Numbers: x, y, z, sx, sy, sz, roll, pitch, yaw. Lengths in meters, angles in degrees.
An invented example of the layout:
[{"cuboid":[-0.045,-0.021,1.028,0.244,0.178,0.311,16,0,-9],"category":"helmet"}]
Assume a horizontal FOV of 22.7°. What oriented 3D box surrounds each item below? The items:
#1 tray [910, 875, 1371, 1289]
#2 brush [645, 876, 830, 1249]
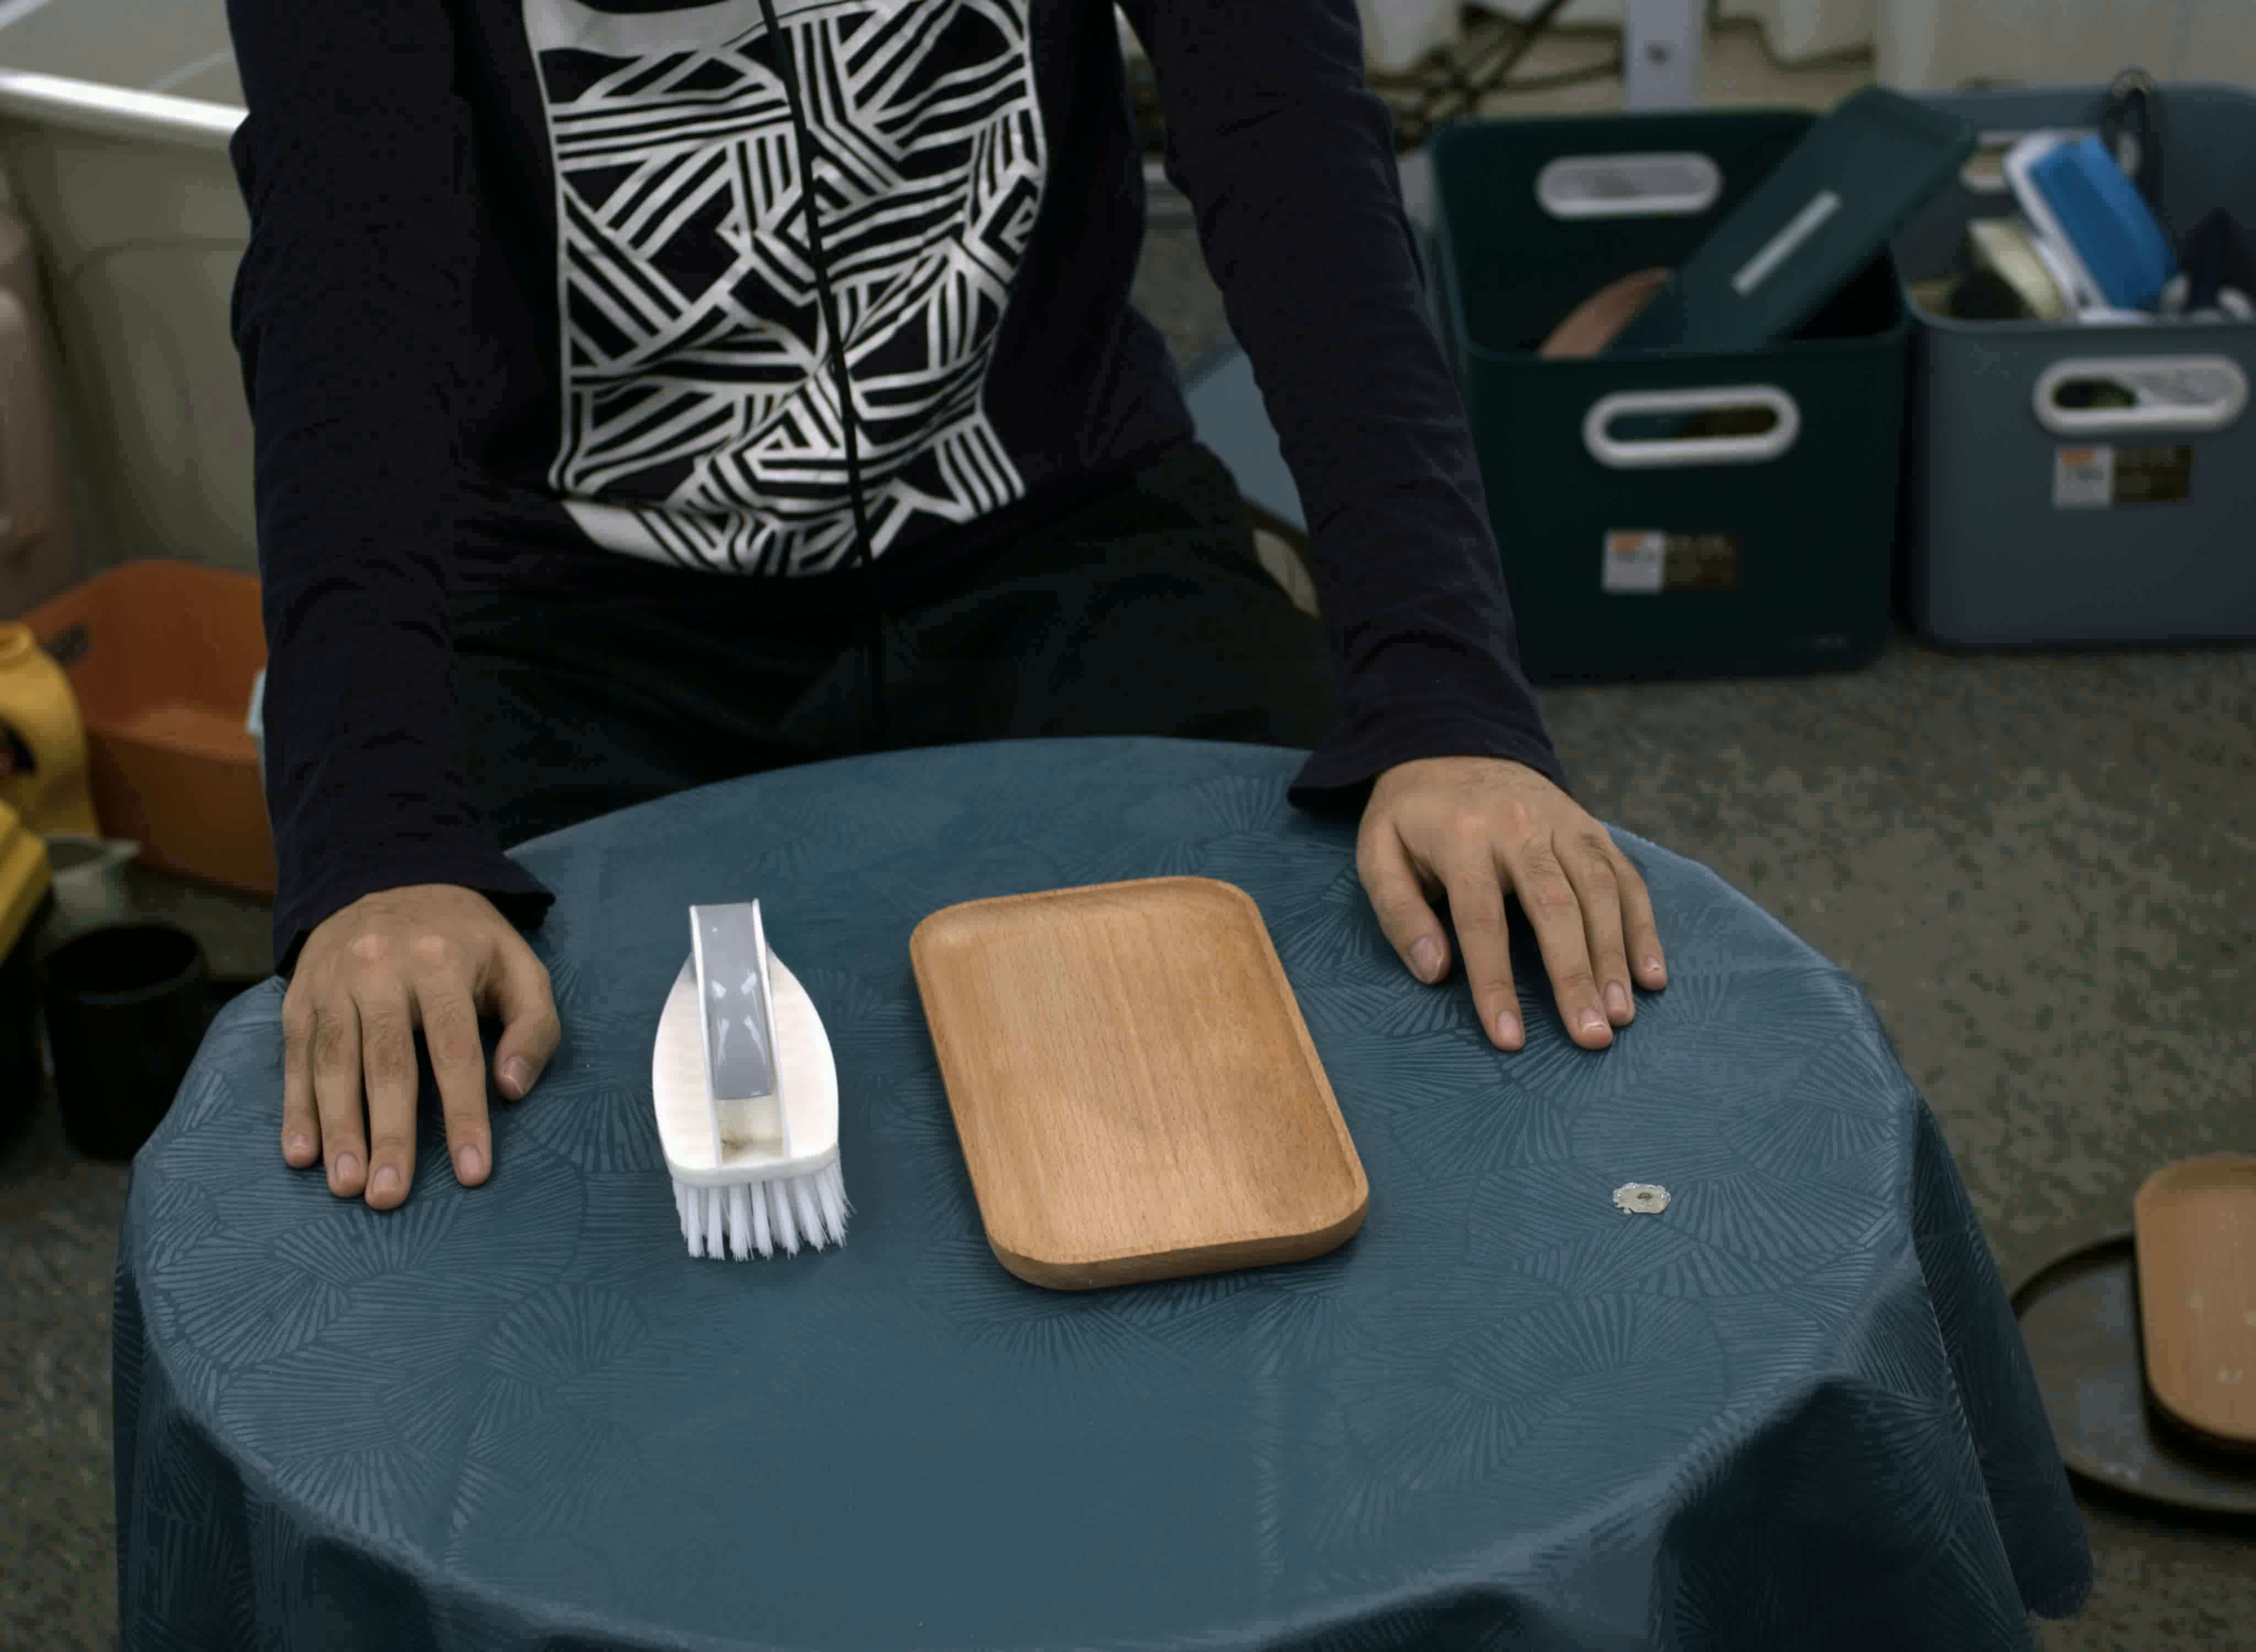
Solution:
[{"cuboid":[0.001,0.084,1.914,0.130,0.022,0.254,-4,26,-7],"category":"tray"},{"cuboid":[-0.133,0.064,1.886,0.061,0.093,0.177,-4,25,-5],"category":"brush"}]
